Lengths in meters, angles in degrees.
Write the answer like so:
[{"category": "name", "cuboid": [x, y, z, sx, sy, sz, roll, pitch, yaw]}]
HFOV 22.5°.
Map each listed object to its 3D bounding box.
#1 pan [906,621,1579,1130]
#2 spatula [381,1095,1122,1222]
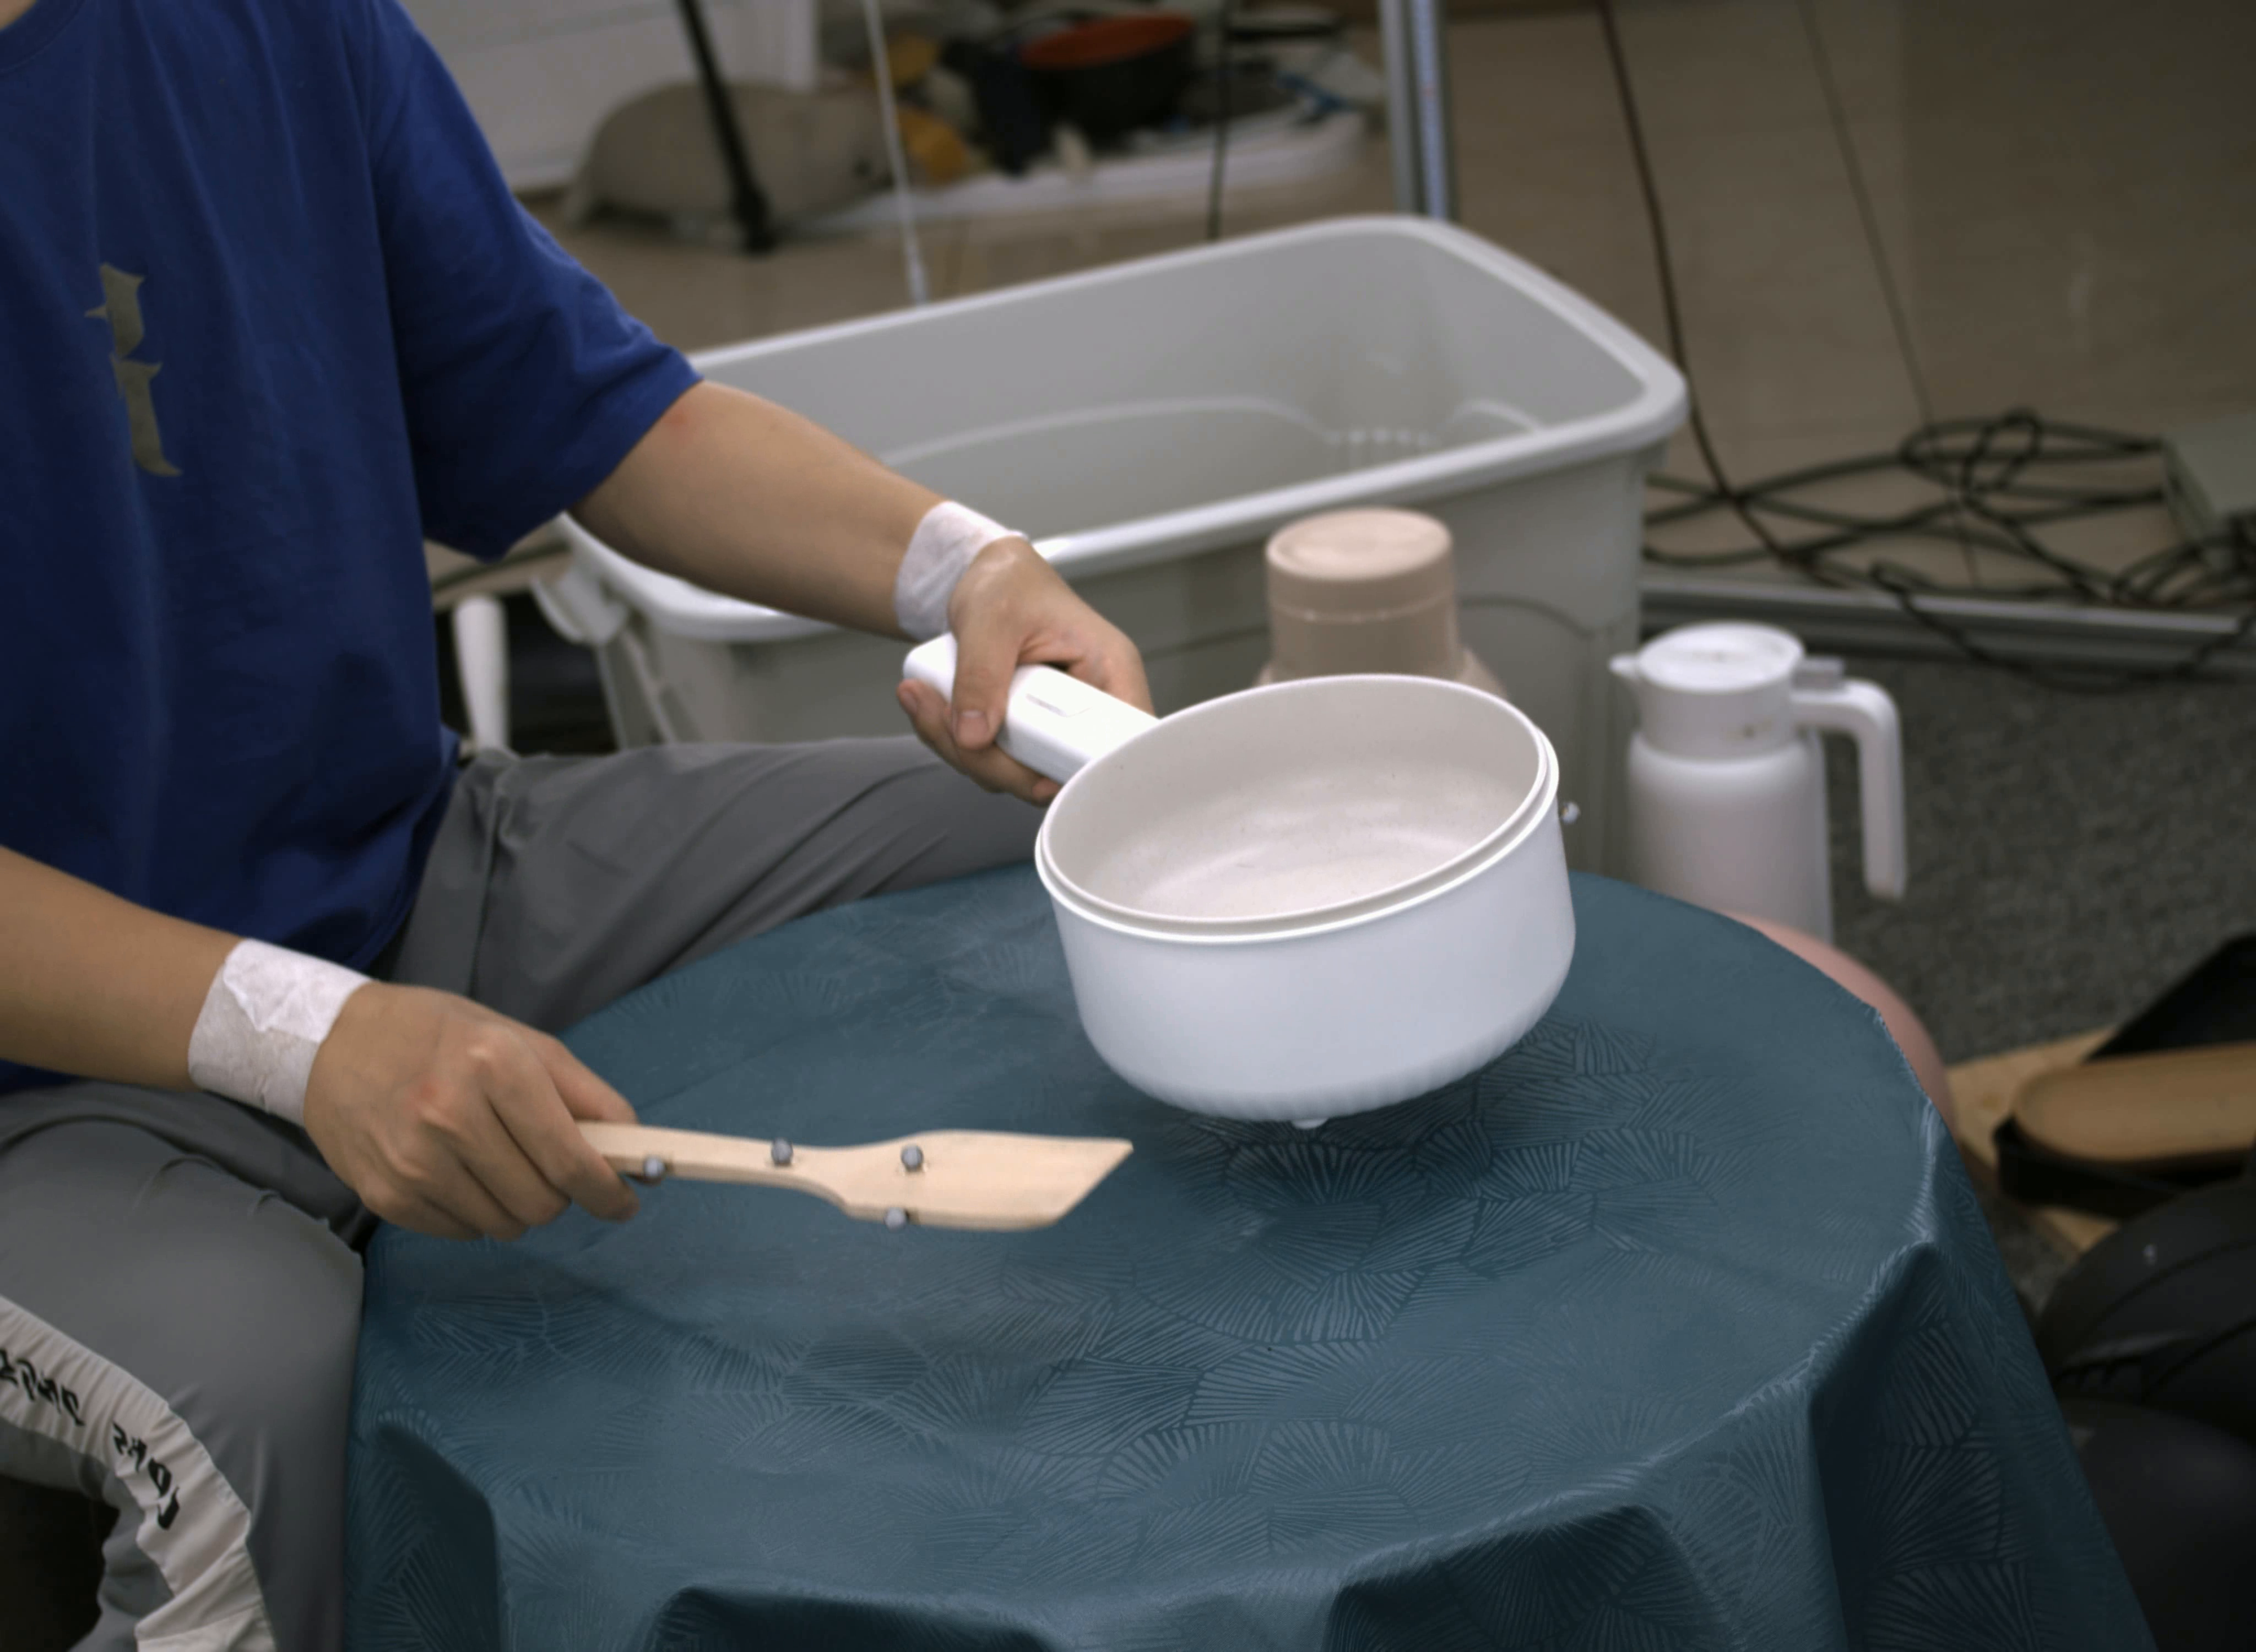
[{"category": "pan", "cuboid": [0.029, 0.010, 2.225, 0.200, 0.104, 0.351, -29, 31, -26]}, {"category": "spatula", "cuboid": [-0.146, 0.118, 2.067, 0.292, 0.011, 0.071, 4, 23, 25]}]
